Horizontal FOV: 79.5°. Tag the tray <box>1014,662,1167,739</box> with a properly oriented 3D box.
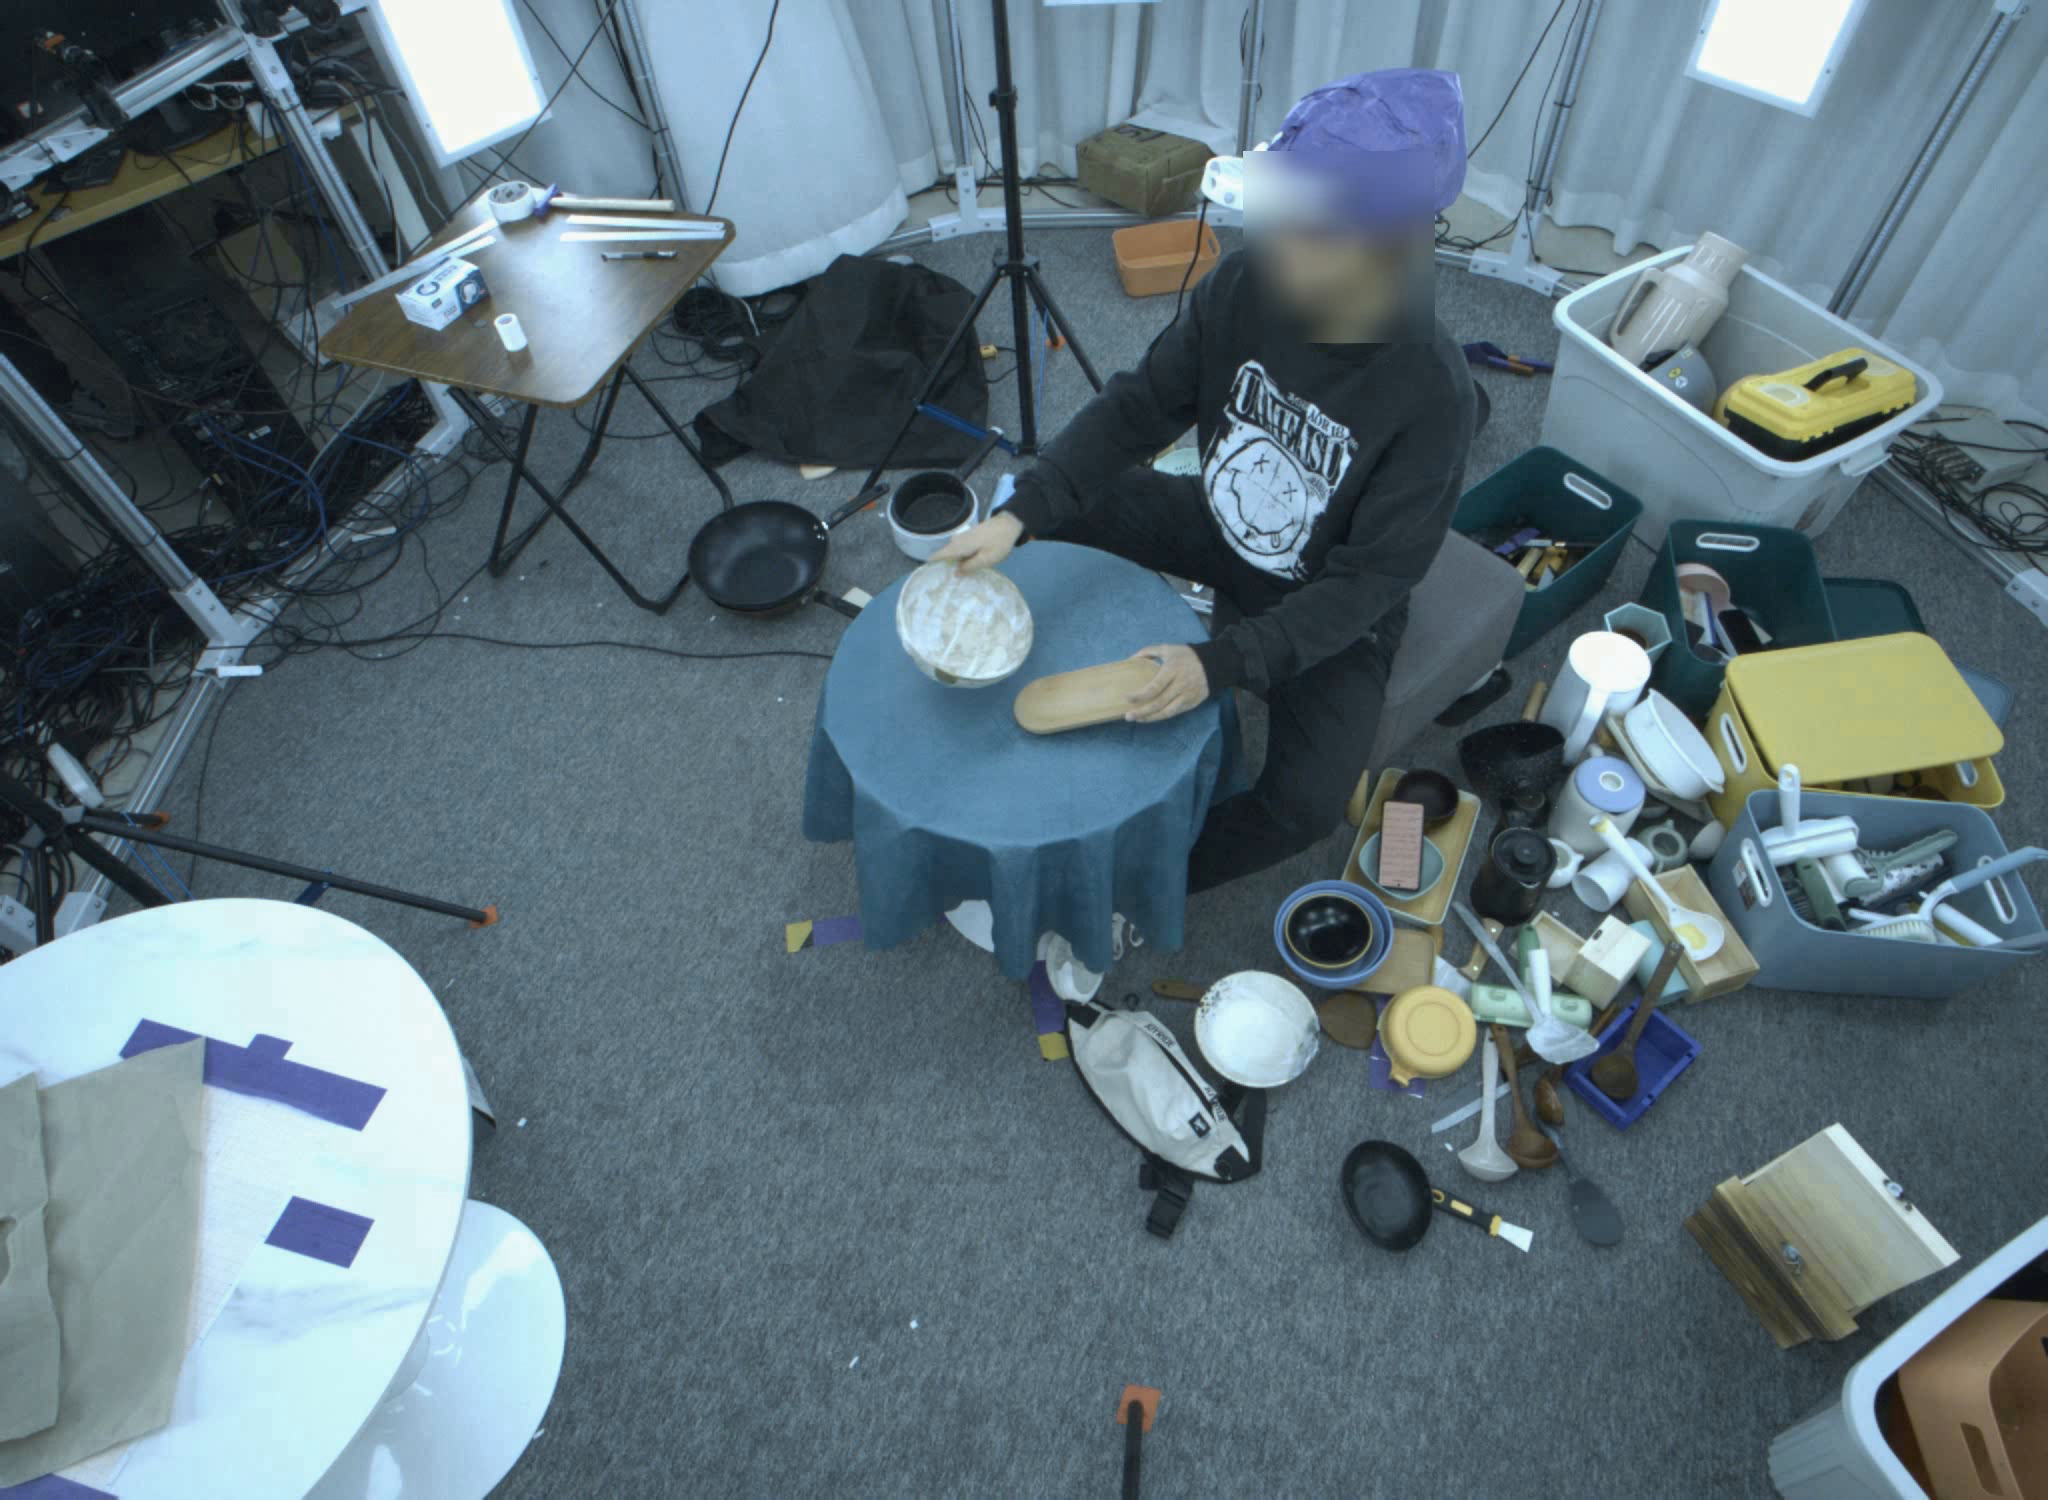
[{"bbox_3d":[0.097,-0.072,1.806,0.229,0.021,0.100,-13,50,12],"label":"tray"}]

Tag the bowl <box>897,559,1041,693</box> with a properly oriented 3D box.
[{"bbox_3d":[-0.090,-0.164,1.784,0.218,0.094,0.213,10,63,-20],"label":"bowl"}]
